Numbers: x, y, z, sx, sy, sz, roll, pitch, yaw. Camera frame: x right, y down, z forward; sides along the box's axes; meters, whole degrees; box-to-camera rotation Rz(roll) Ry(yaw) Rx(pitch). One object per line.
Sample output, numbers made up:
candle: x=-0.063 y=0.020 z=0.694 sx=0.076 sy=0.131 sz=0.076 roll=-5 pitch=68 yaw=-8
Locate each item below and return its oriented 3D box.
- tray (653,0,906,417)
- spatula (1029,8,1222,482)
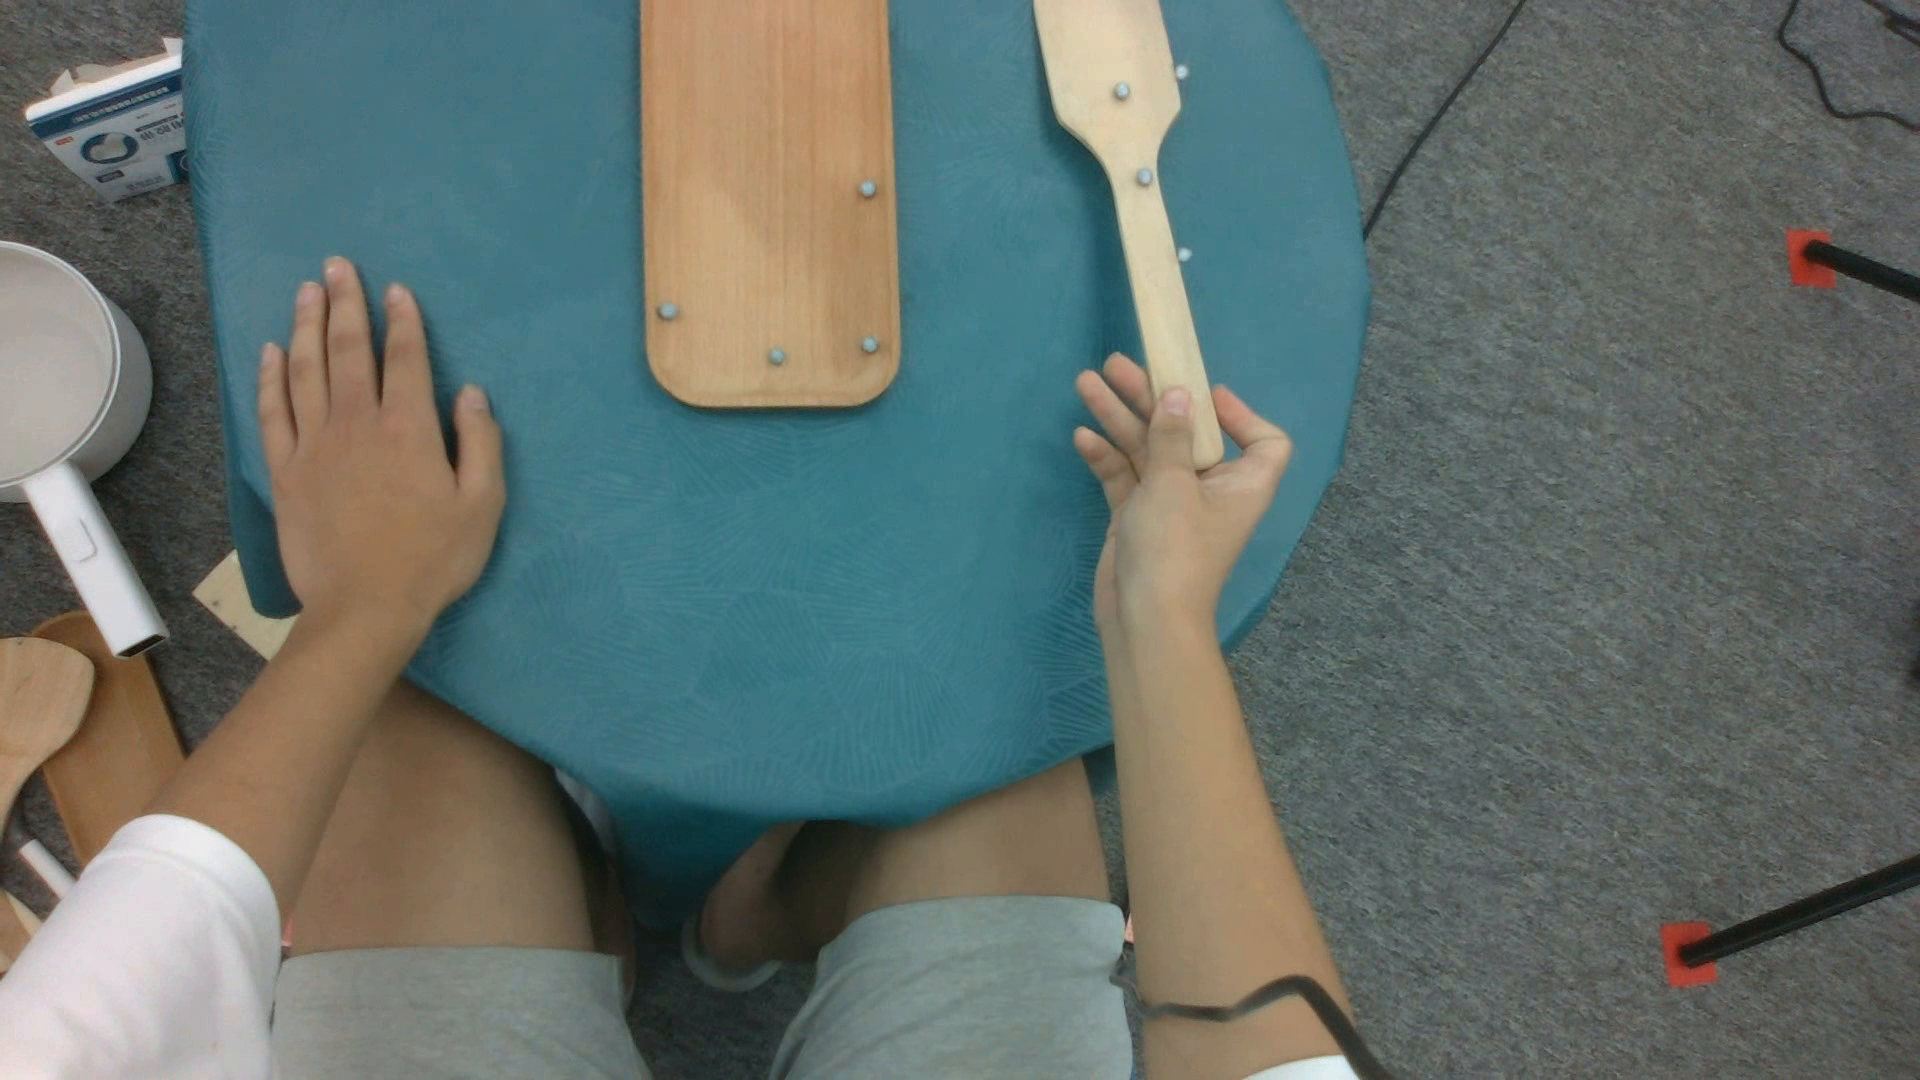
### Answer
tray: x=-0.096 y=-0.187 z=0.730 sx=0.131 sy=0.023 sz=0.251 roll=0 pitch=80 yaw=-11
spatula: x=0.096 y=-0.164 z=0.730 sx=0.072 sy=0.010 sz=0.294 roll=-7 pitch=69 yaw=-7
